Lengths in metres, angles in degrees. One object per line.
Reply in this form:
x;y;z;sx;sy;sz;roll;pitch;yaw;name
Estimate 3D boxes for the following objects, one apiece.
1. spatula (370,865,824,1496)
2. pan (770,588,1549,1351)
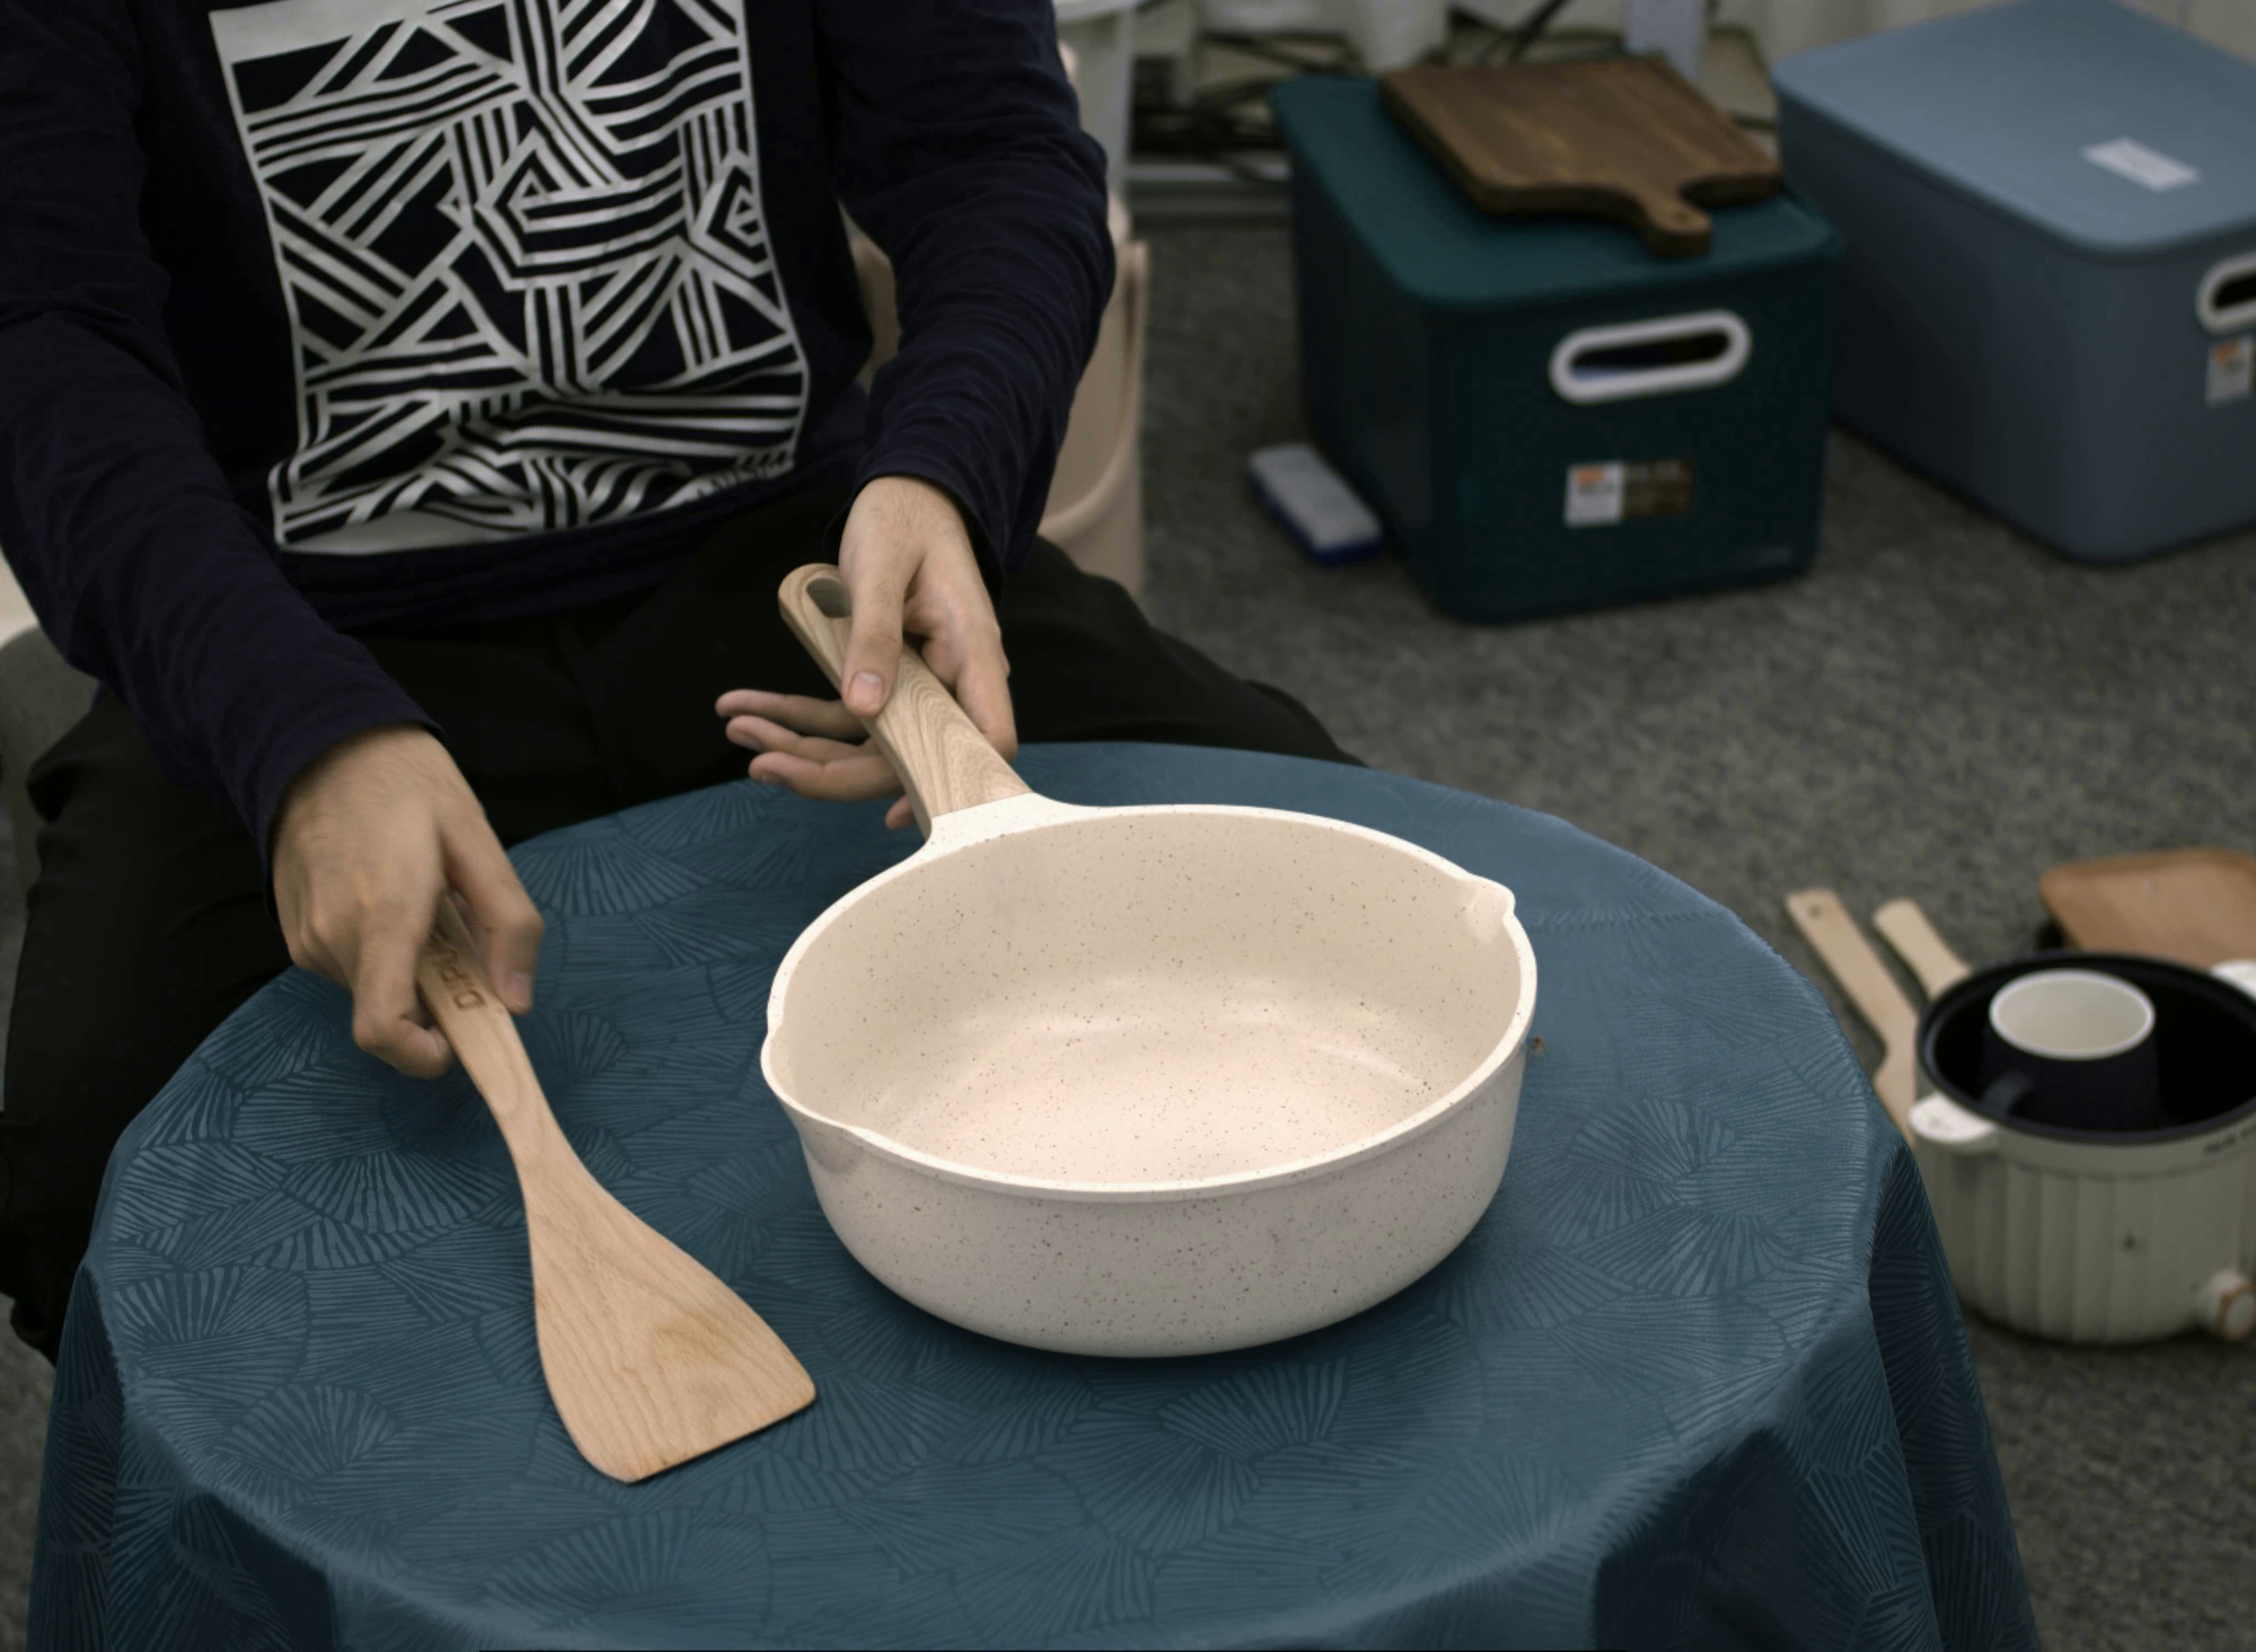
-0.190;0.108;1.853;0.080;0.016;0.331;-13;41;-20;spatula
-0.025;0.043;1.919;0.264;0.101;0.437;-15;29;-20;pan
